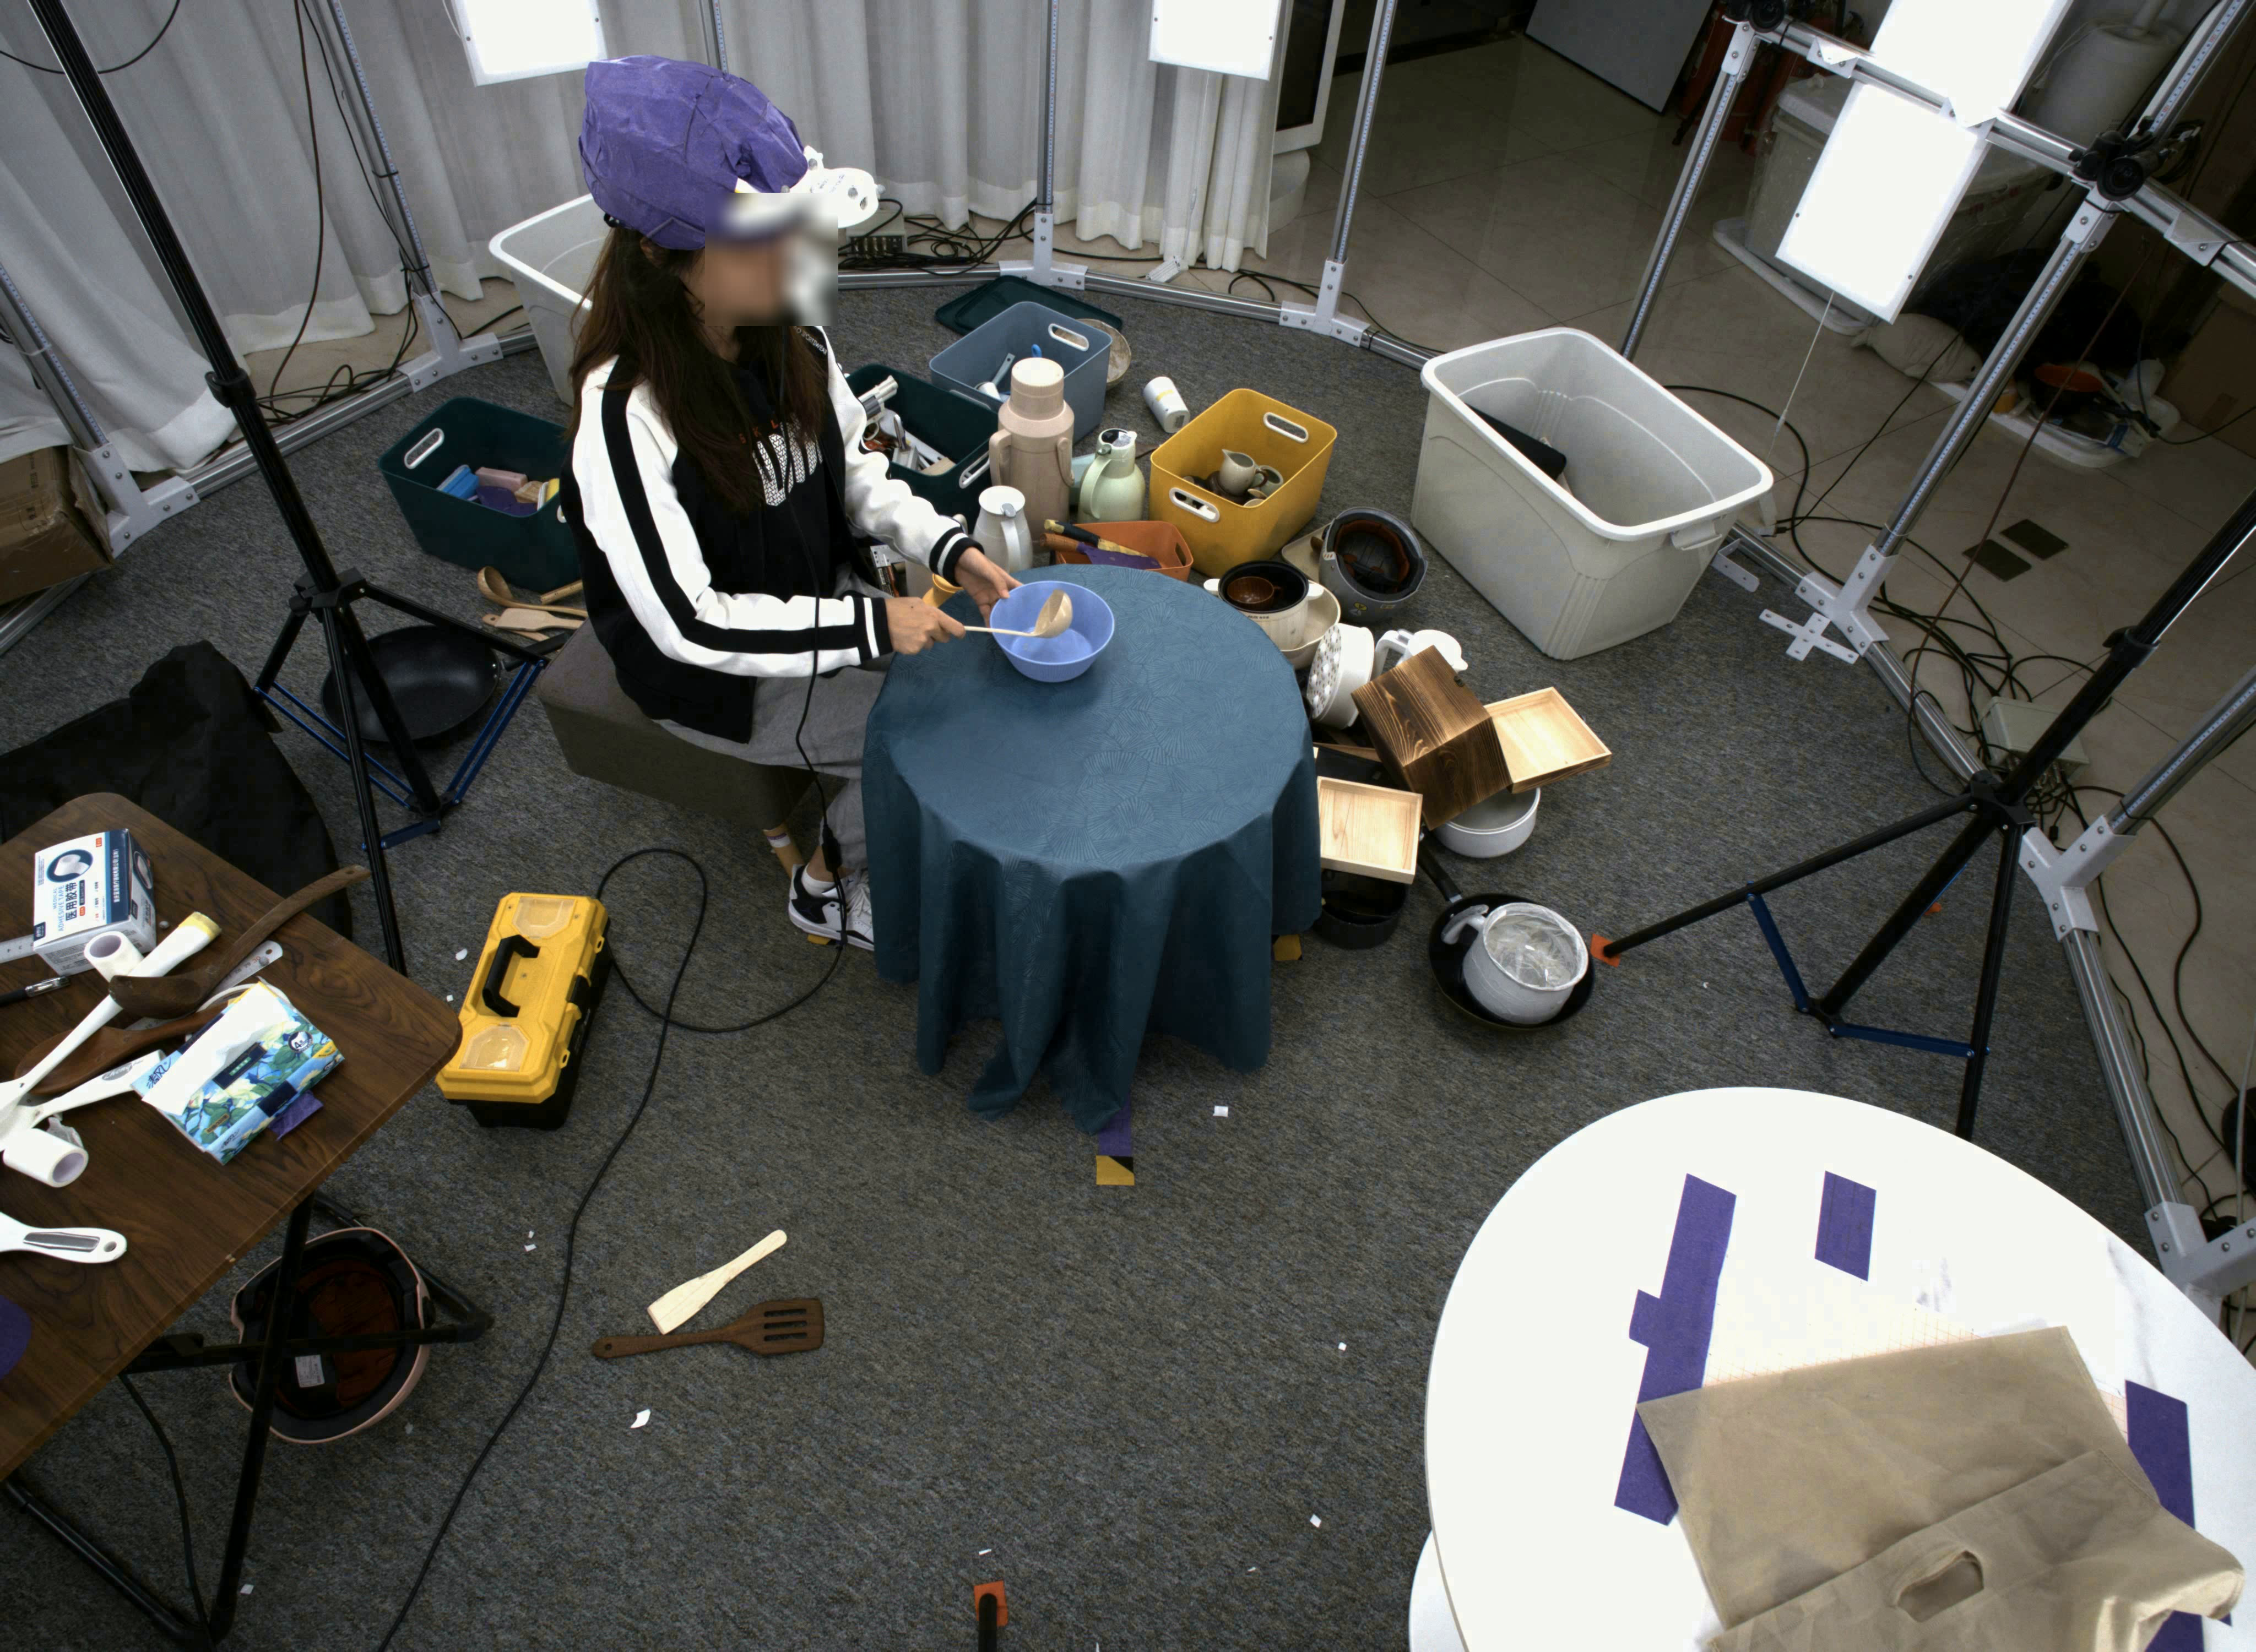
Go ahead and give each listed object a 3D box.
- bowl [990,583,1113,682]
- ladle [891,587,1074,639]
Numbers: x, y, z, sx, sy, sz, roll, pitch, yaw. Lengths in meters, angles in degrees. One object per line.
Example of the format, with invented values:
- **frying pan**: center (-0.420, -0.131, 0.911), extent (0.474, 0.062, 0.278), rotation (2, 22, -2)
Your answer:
- **bowl**: center (-0.110, -0.269, 1.851), extent (0.176, 0.068, 0.180), rotation (2, 48, -3)
- **ladle**: center (-0.199, -0.297, 1.774), extent (0.253, 0.072, 0.073), rotation (-2, 11, -23)
